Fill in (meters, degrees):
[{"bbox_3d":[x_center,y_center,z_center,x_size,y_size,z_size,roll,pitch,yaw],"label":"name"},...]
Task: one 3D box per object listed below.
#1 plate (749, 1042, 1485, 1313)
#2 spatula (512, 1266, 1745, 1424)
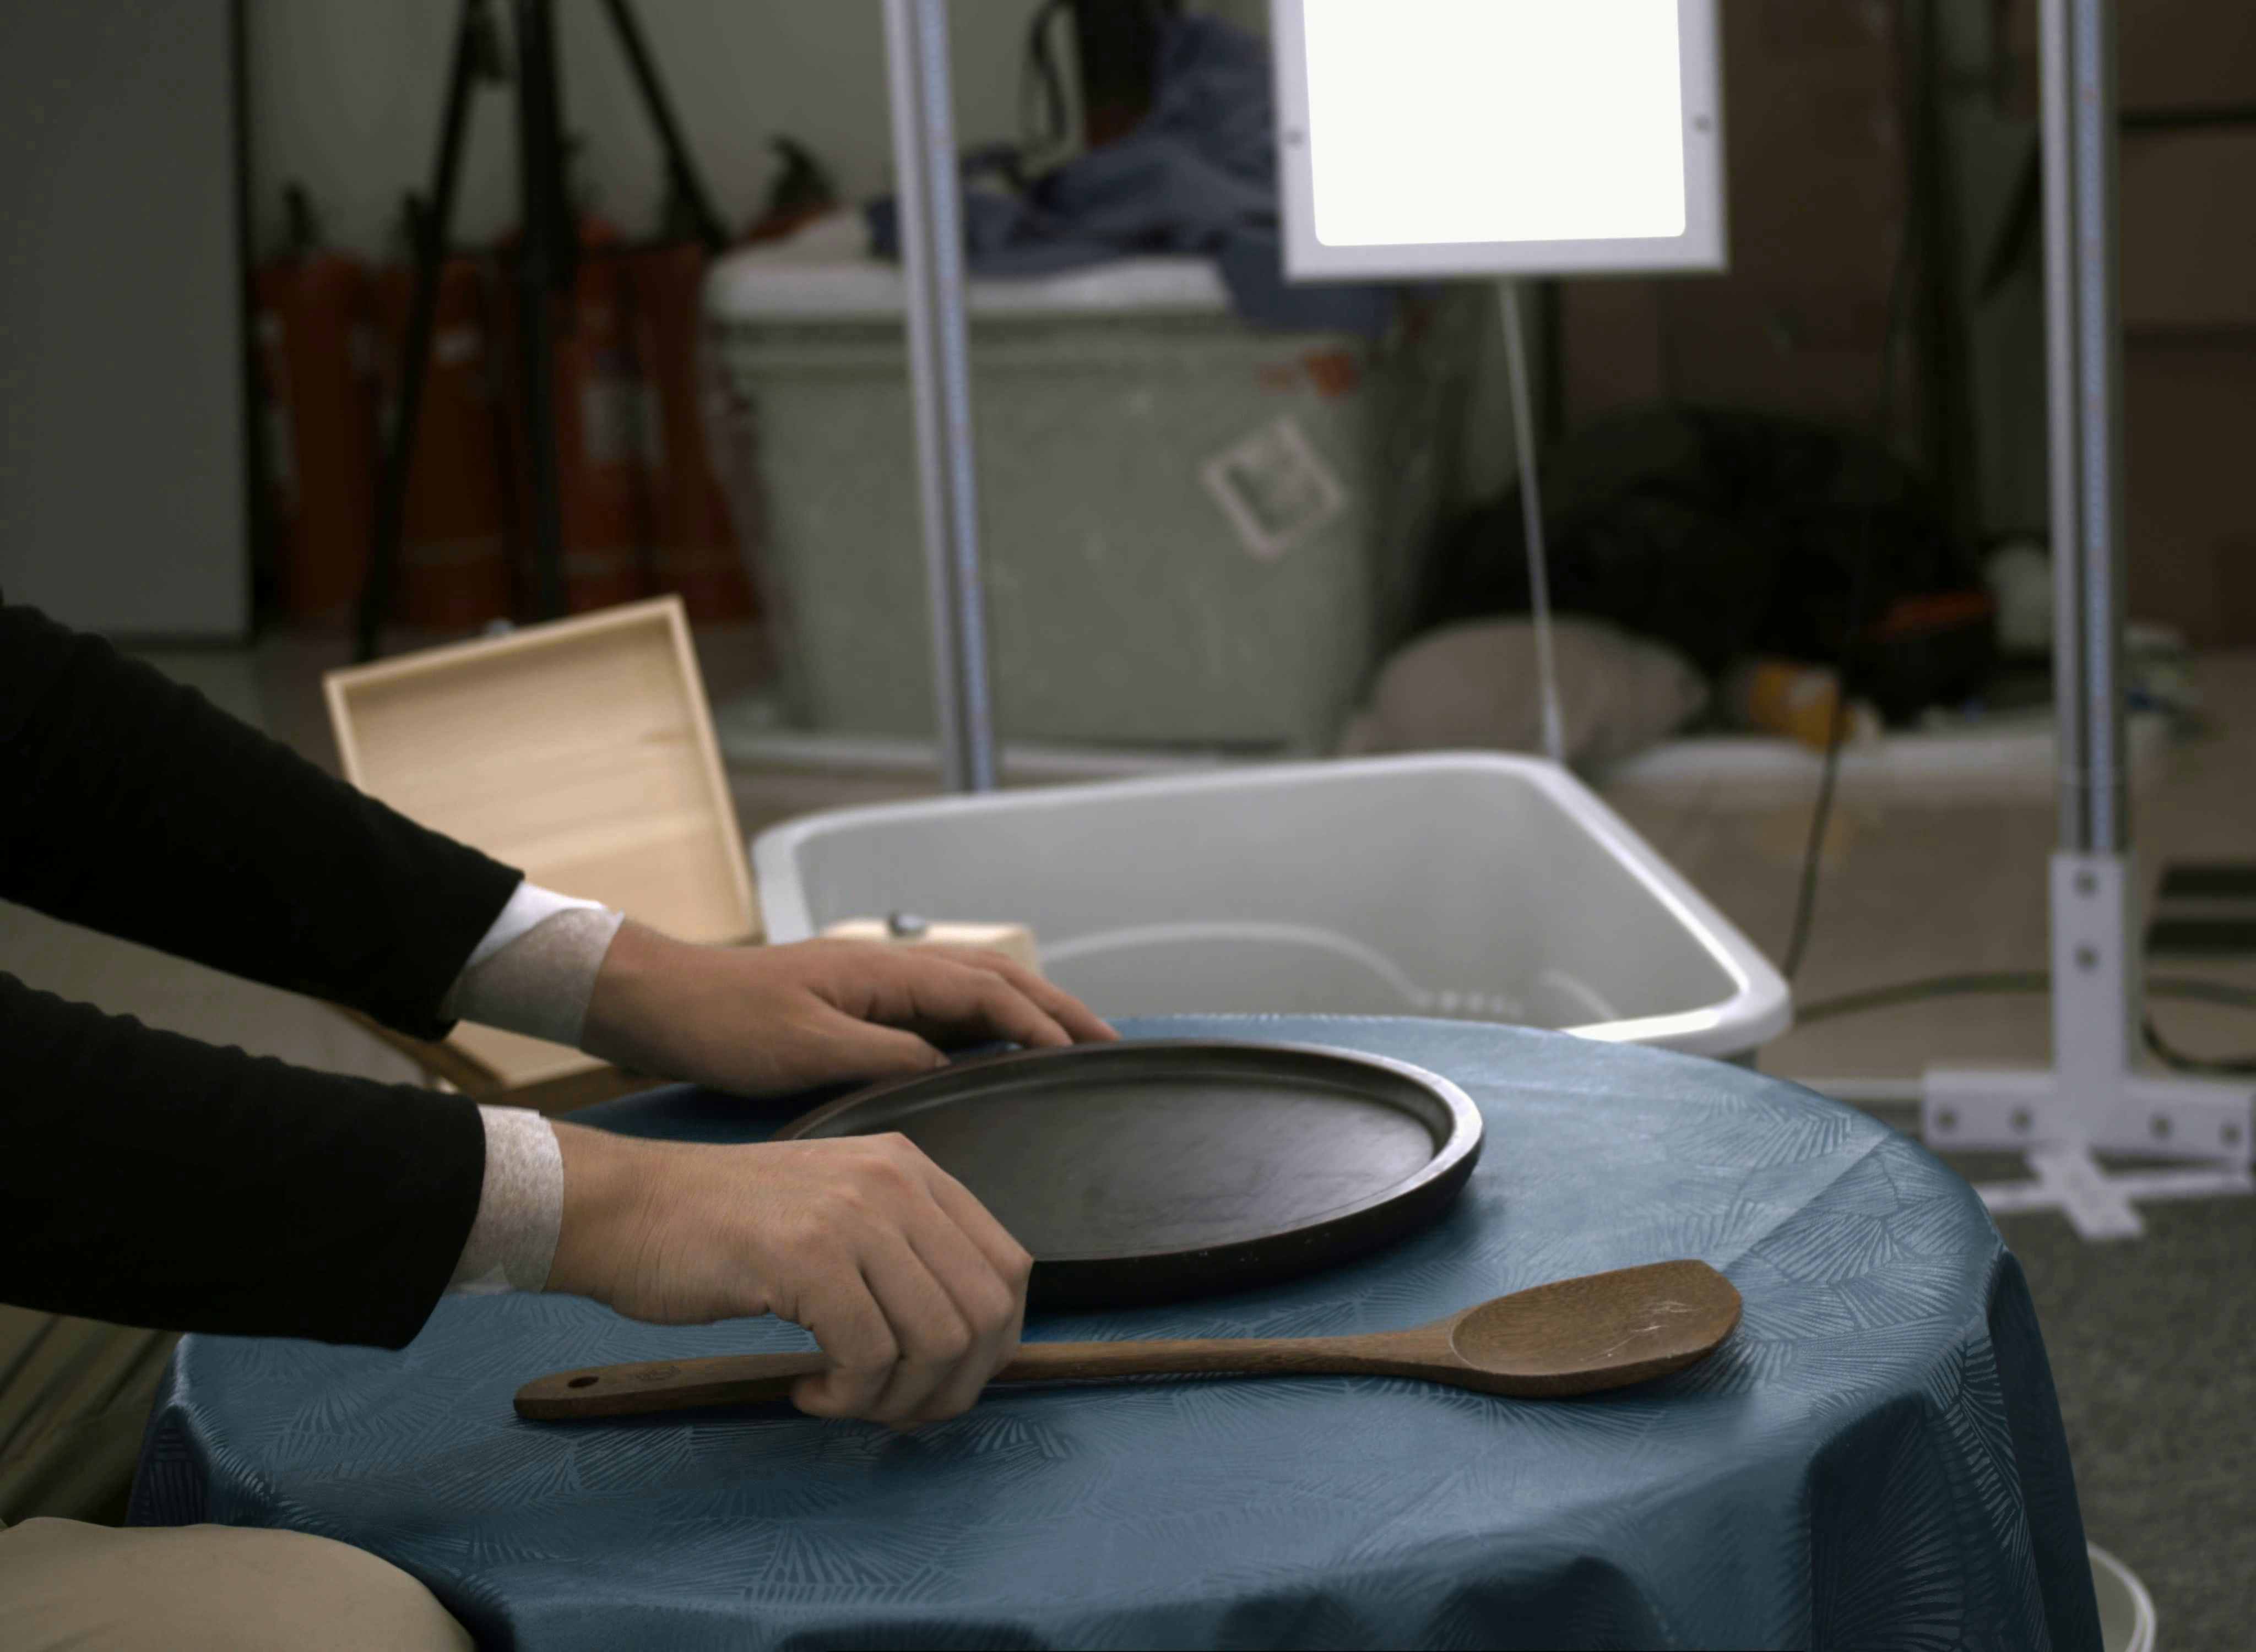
[{"bbox_3d":[-0.003,0.118,1.886,0.254,0.029,0.254,-5,15,0],"label":"plate"},{"bbox_3d":[-0.001,0.165,1.709,0.386,0.016,0.095,-4,13,6],"label":"spatula"}]
